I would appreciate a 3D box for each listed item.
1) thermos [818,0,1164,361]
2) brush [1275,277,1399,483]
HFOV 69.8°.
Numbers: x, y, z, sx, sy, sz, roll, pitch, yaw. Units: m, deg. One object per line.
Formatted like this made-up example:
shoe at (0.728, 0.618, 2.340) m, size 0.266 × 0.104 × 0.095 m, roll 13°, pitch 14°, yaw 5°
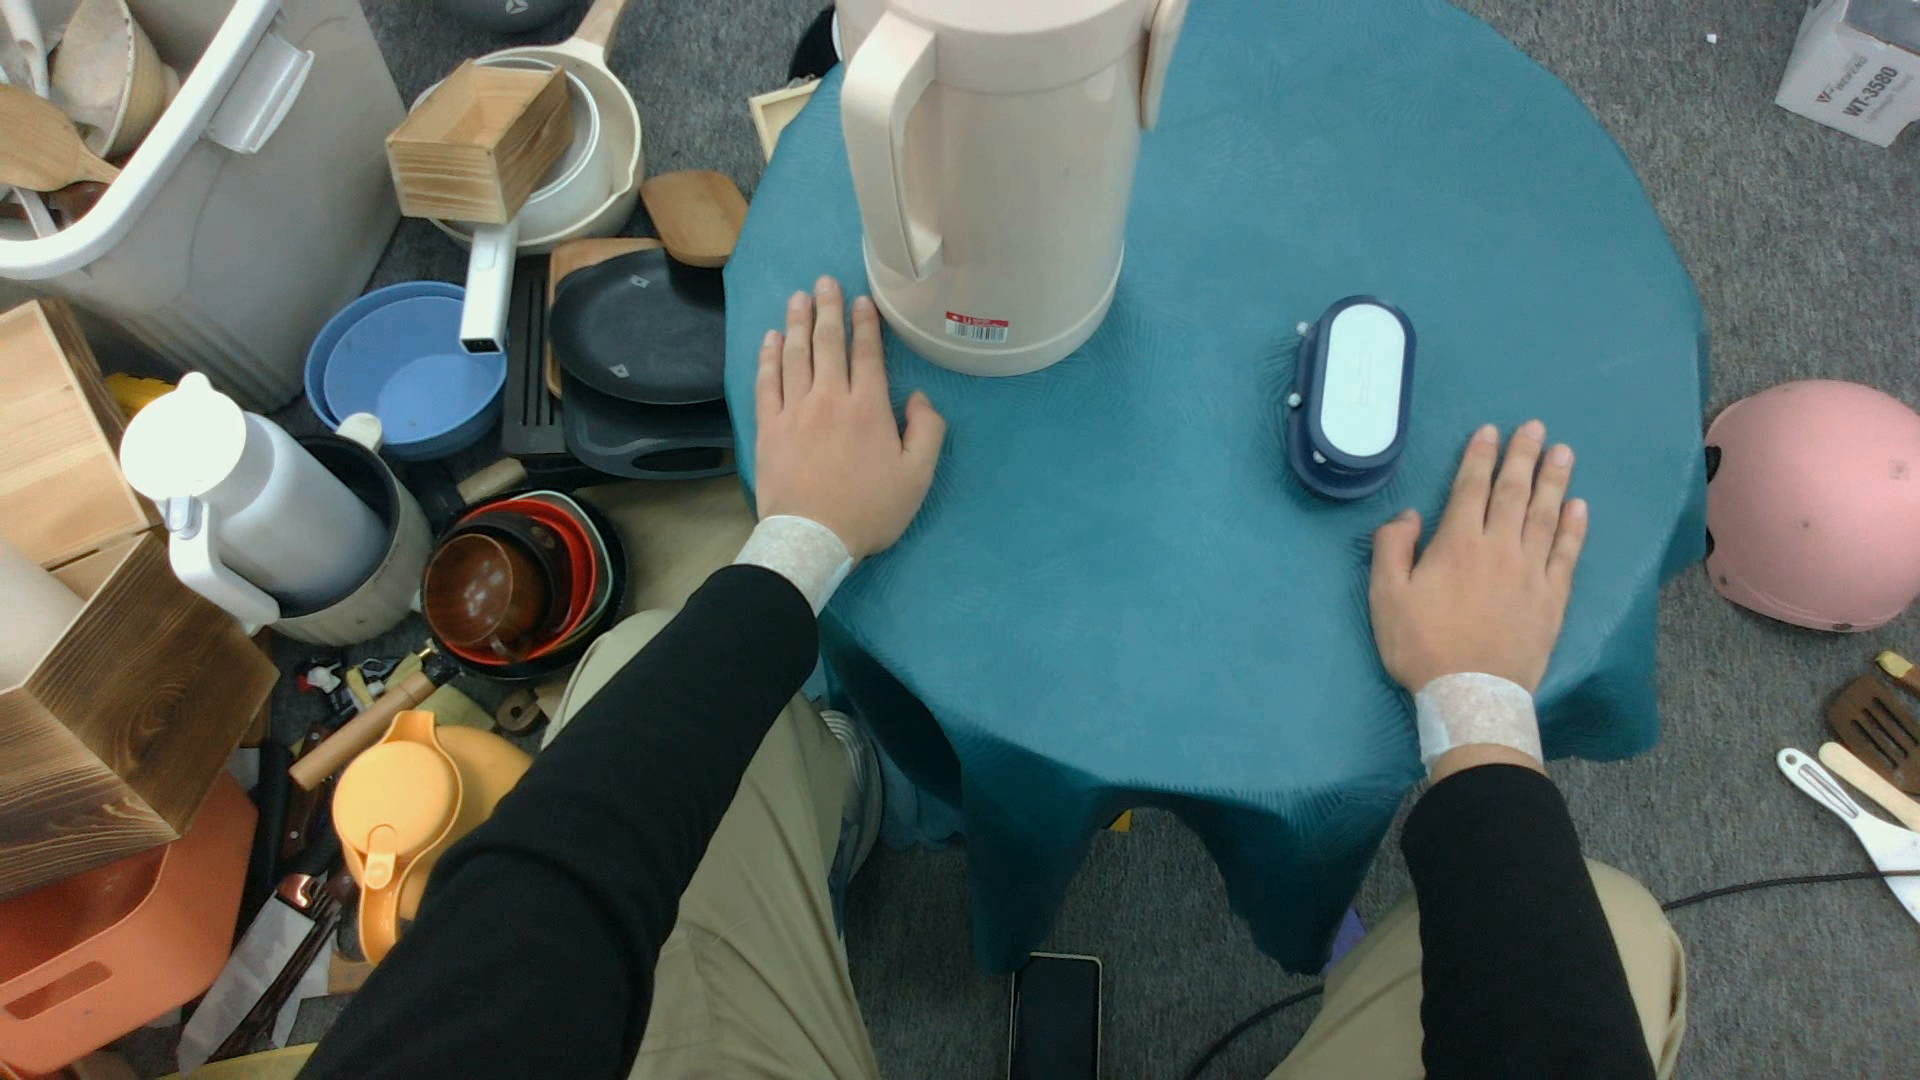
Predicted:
thermos at (0.001, -0.239, 0.675) m, size 0.175 × 0.405 × 0.208 m, roll 28°, pitch 71°, yaw 8°
brush at (0.220, -0.092, 0.804) m, size 0.068 × 0.061 × 0.122 m, roll 11°, pitch 67°, yaw 7°
